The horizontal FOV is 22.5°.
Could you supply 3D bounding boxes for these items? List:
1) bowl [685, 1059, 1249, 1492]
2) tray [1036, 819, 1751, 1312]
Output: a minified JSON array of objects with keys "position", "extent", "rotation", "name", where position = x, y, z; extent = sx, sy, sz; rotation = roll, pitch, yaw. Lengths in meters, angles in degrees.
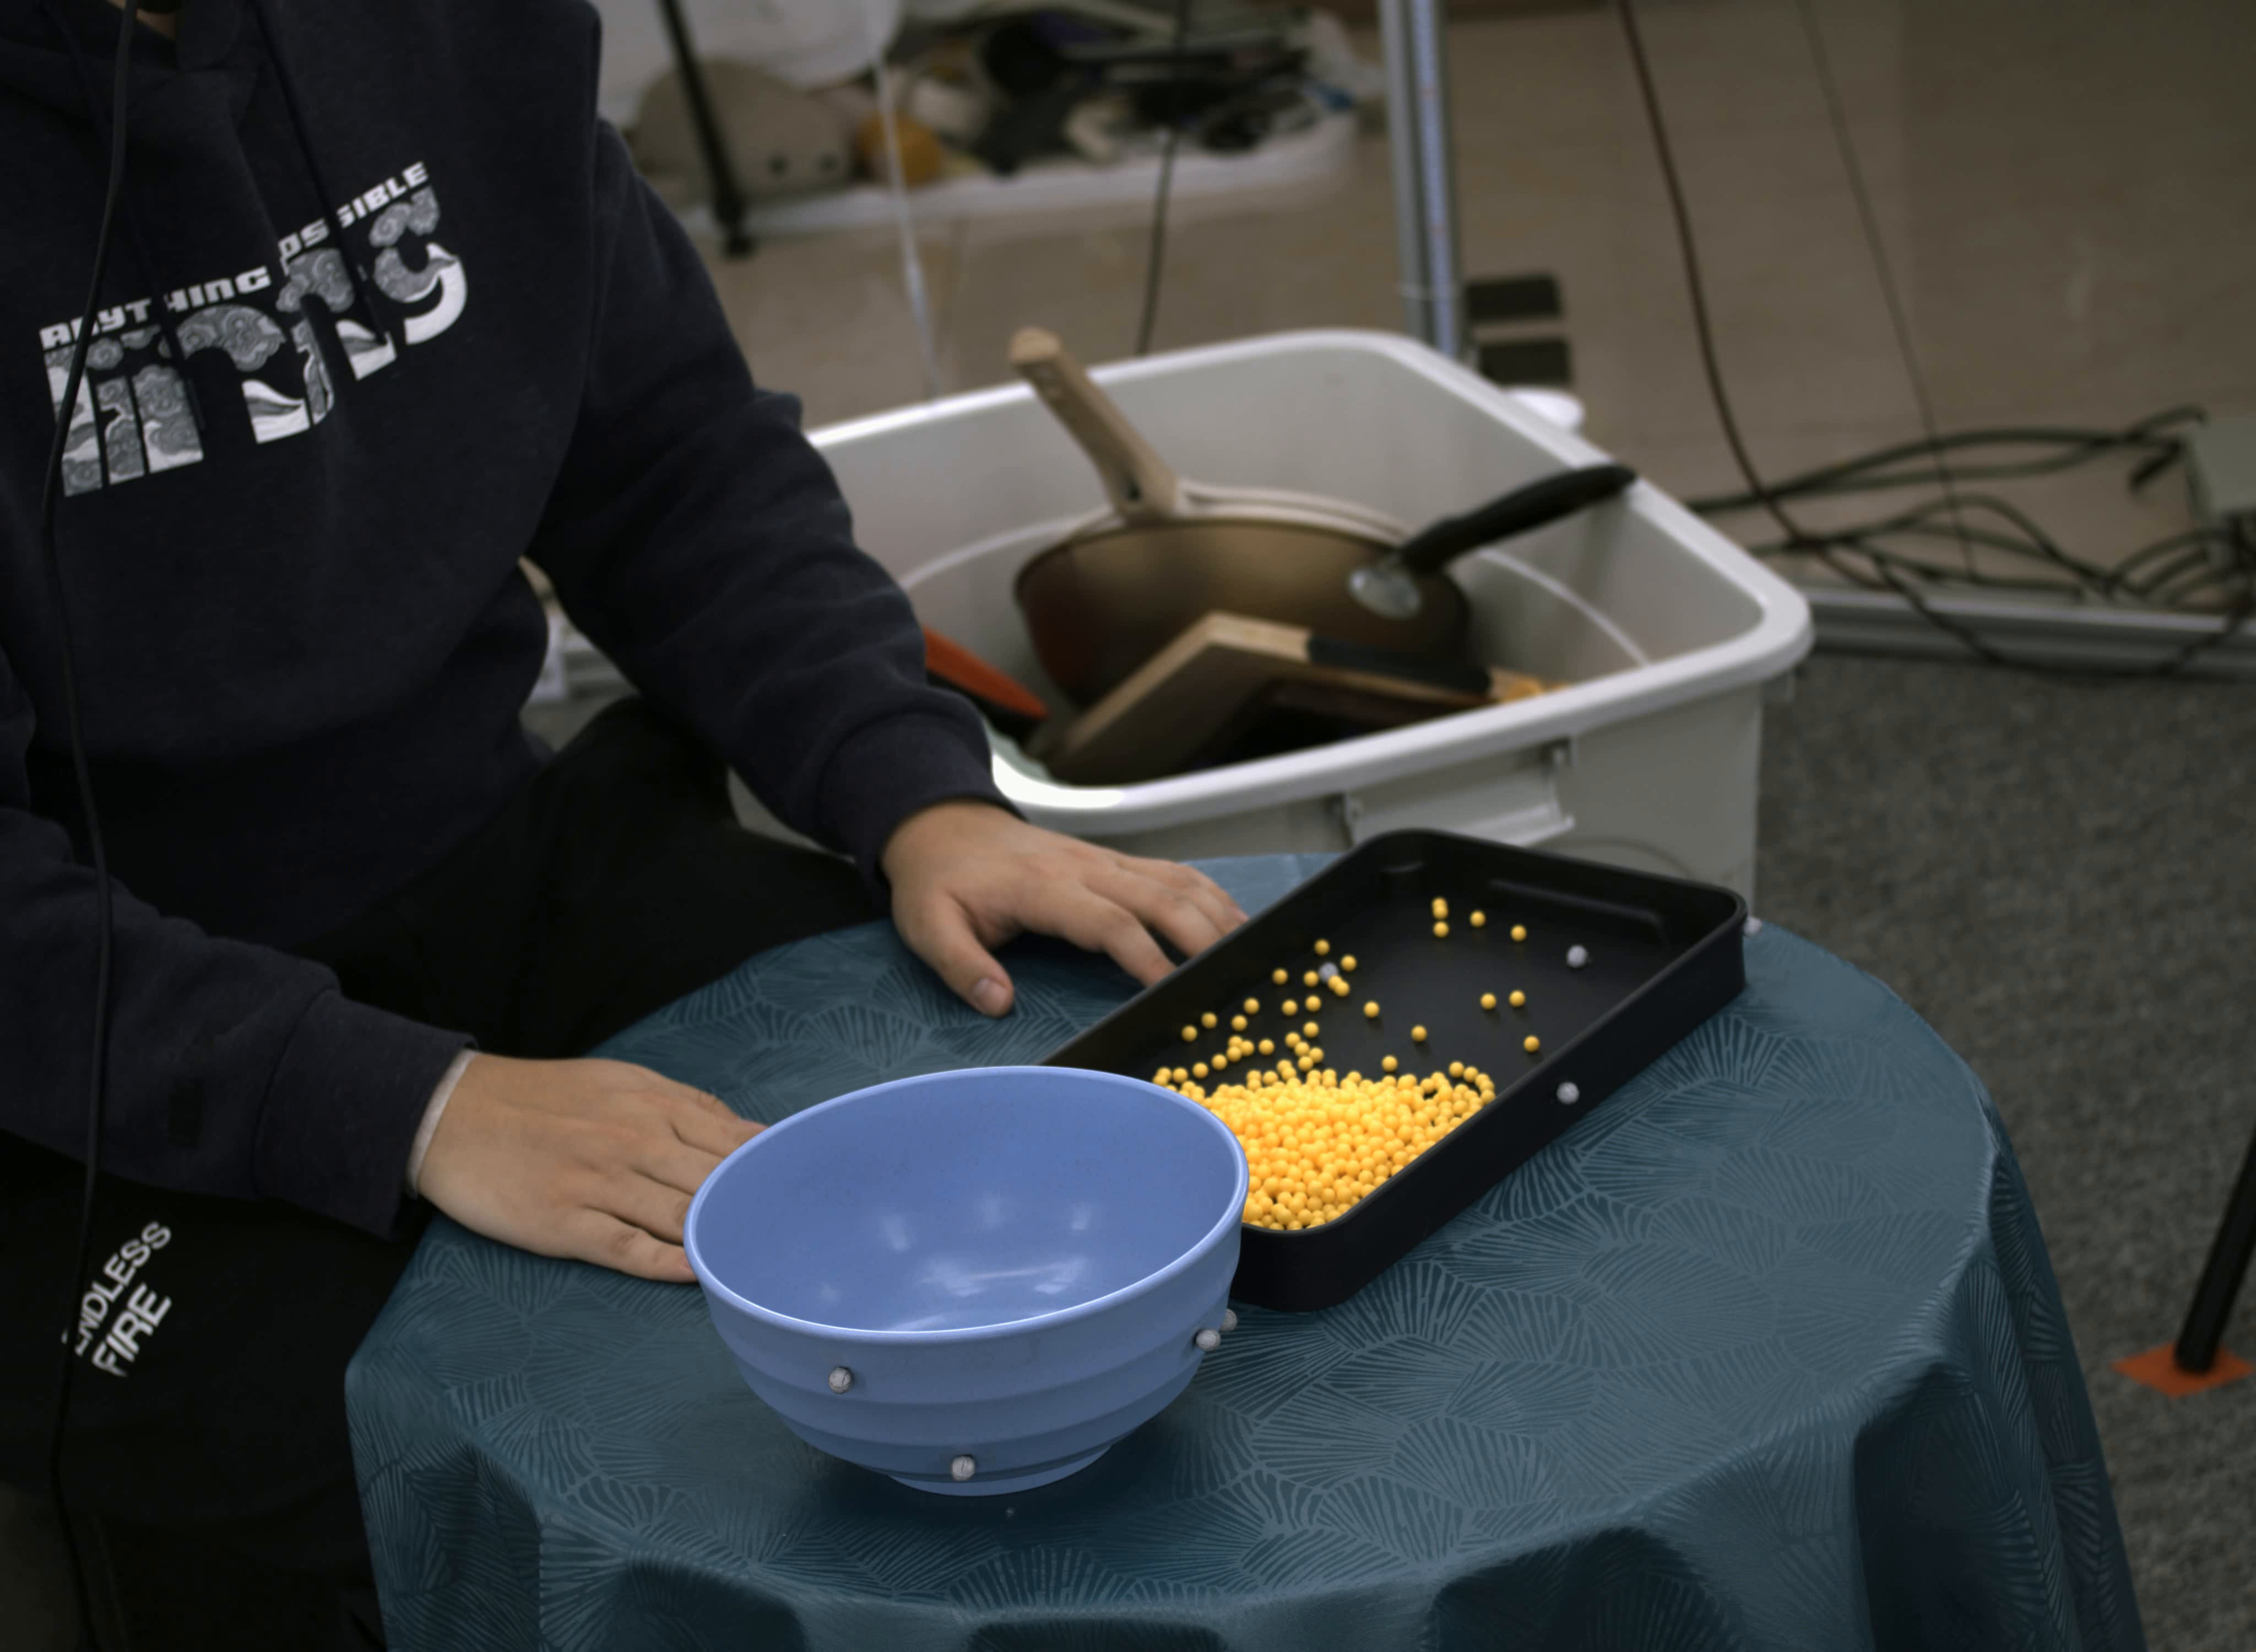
[{"position":[-0.051,0.168,1.979],"extent":[0.196,0.097,0.193],"rotation":[-5,26,3],"name":"bowl"},{"position":[0.093,0.087,2.199],"extent":[0.183,0.037,0.314],"rotation":[11,31,35],"name":"tray"}]
